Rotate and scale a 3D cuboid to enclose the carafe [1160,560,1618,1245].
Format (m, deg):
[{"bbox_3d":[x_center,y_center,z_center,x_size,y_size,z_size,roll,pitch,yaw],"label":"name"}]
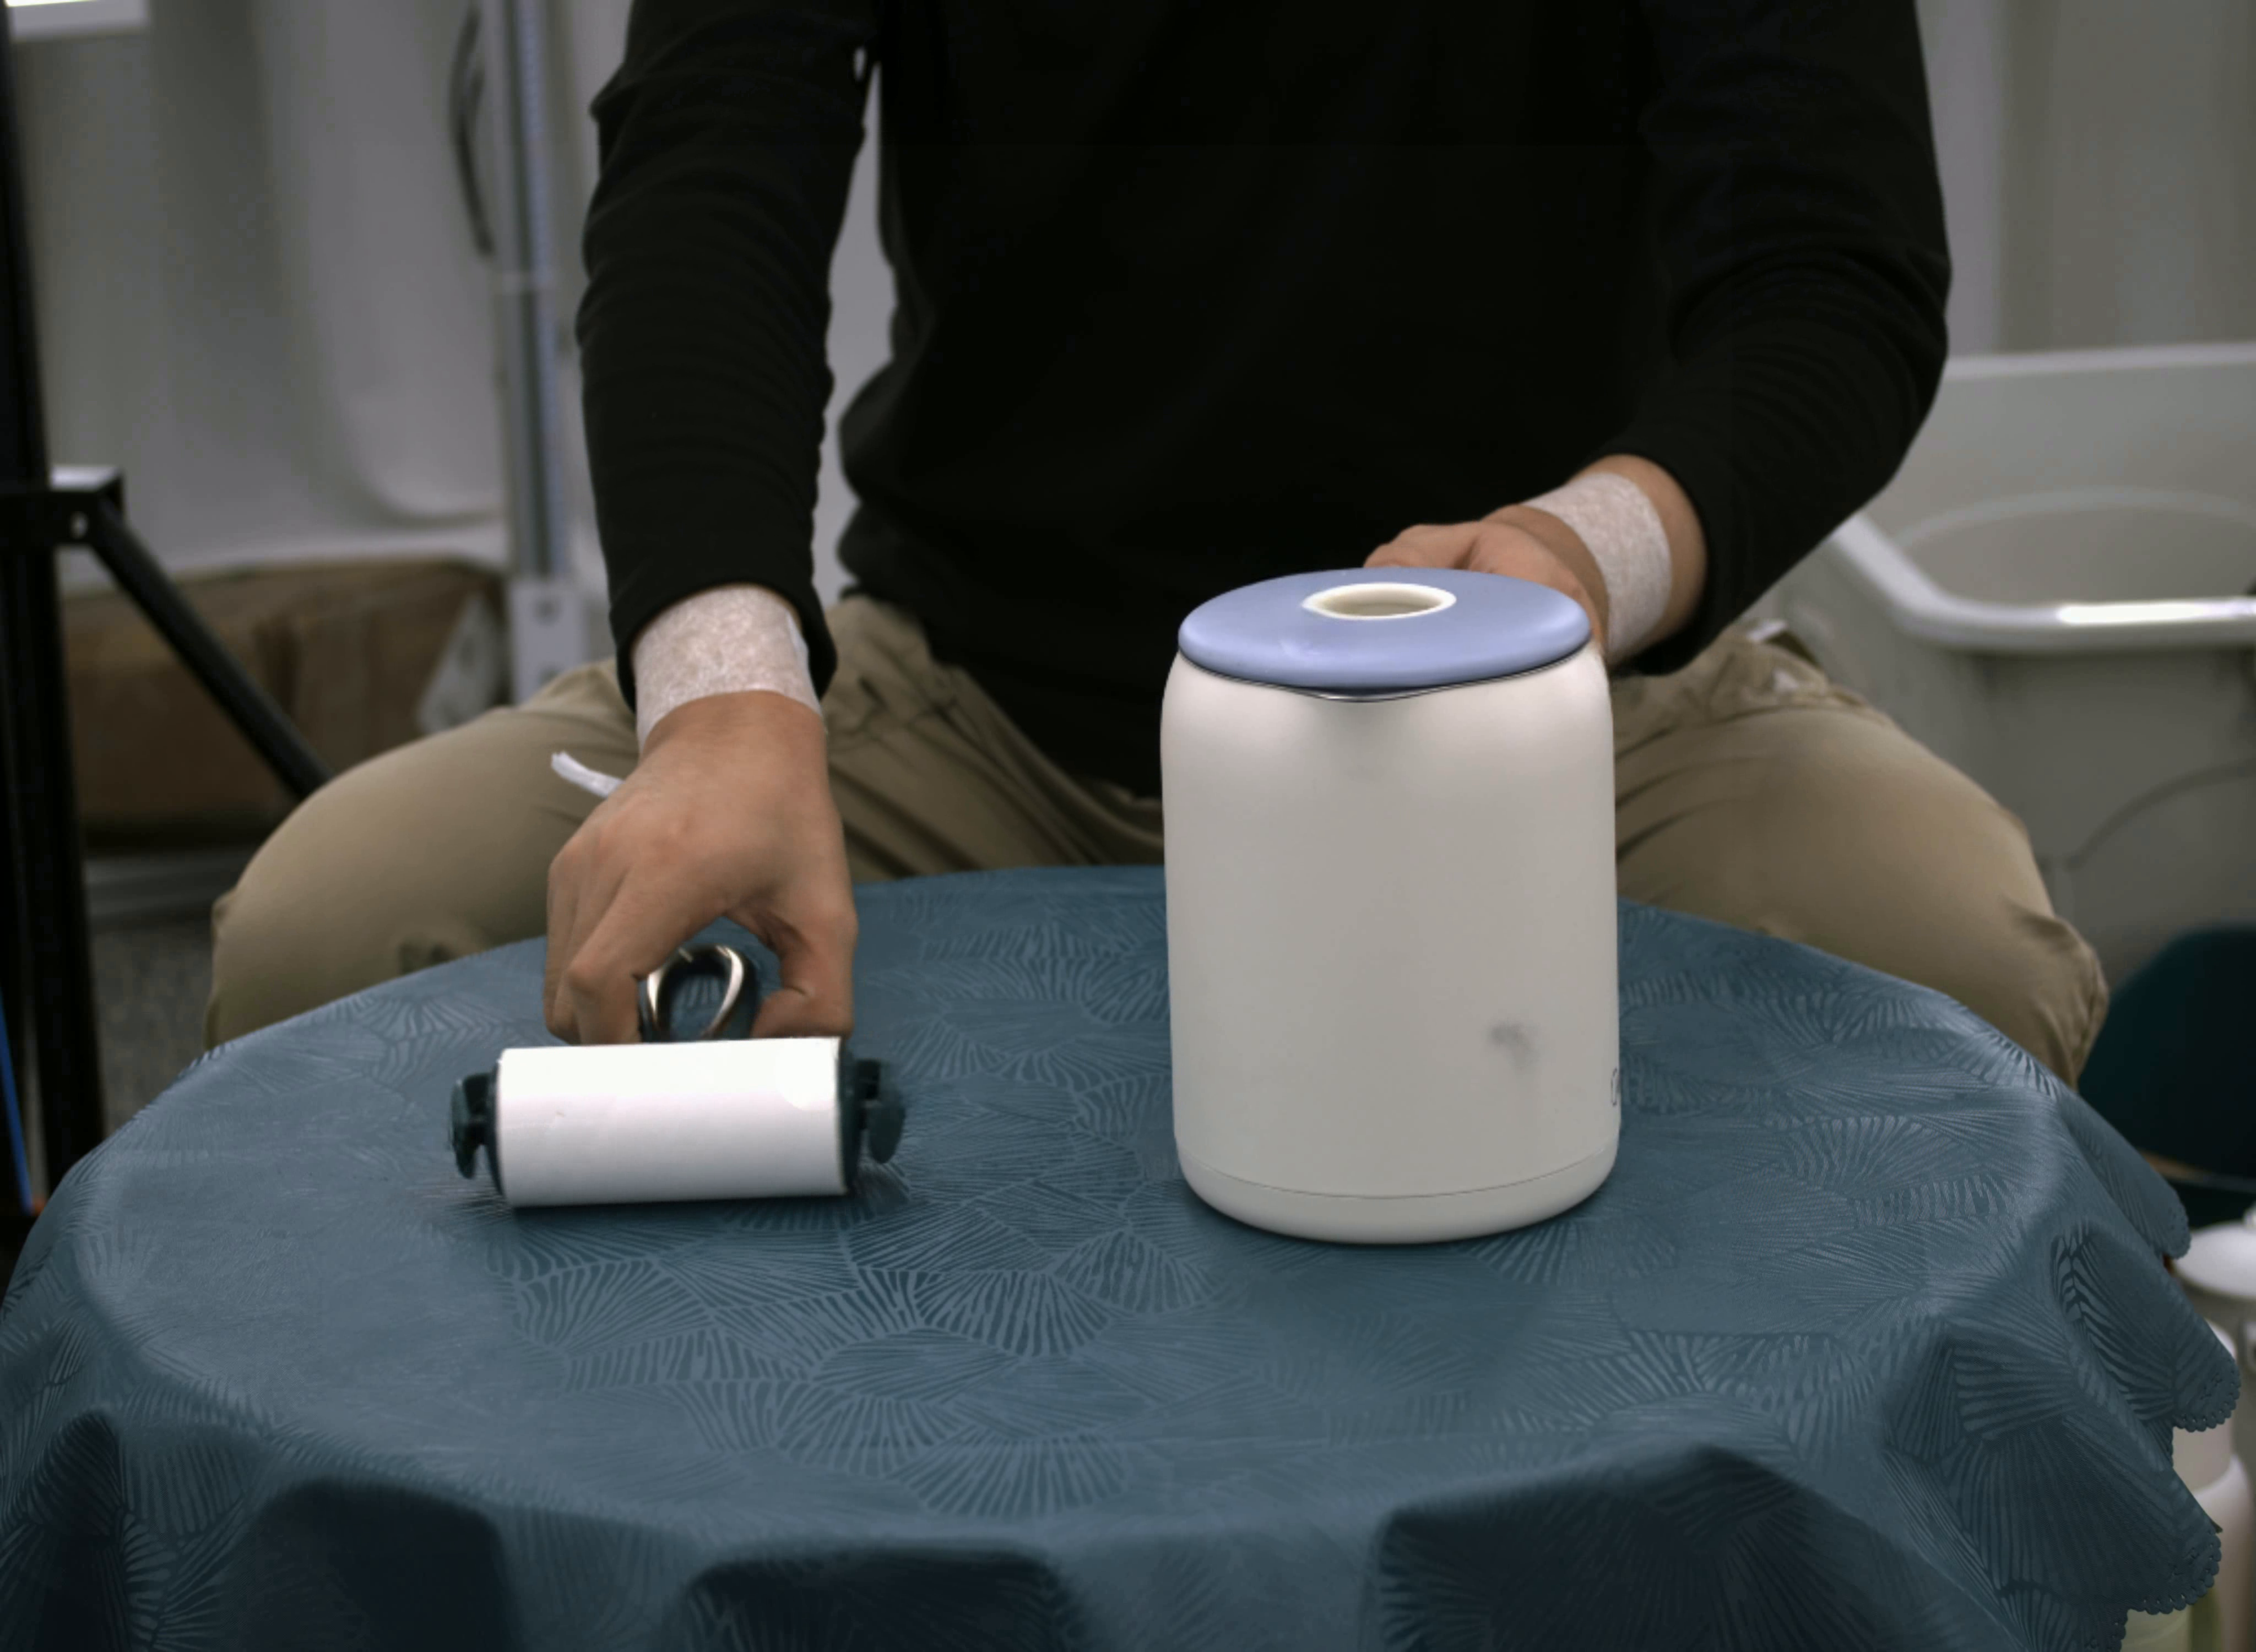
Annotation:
[{"bbox_3d":[0.079,0.015,1.559,0.132,0.182,0.190,0,13,7],"label":"carafe"}]

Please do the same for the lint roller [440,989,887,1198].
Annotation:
[{"bbox_3d":[-0.134,0.064,1.631,0.134,0.048,0.180,-2,19,3],"label":"lint roller"}]
